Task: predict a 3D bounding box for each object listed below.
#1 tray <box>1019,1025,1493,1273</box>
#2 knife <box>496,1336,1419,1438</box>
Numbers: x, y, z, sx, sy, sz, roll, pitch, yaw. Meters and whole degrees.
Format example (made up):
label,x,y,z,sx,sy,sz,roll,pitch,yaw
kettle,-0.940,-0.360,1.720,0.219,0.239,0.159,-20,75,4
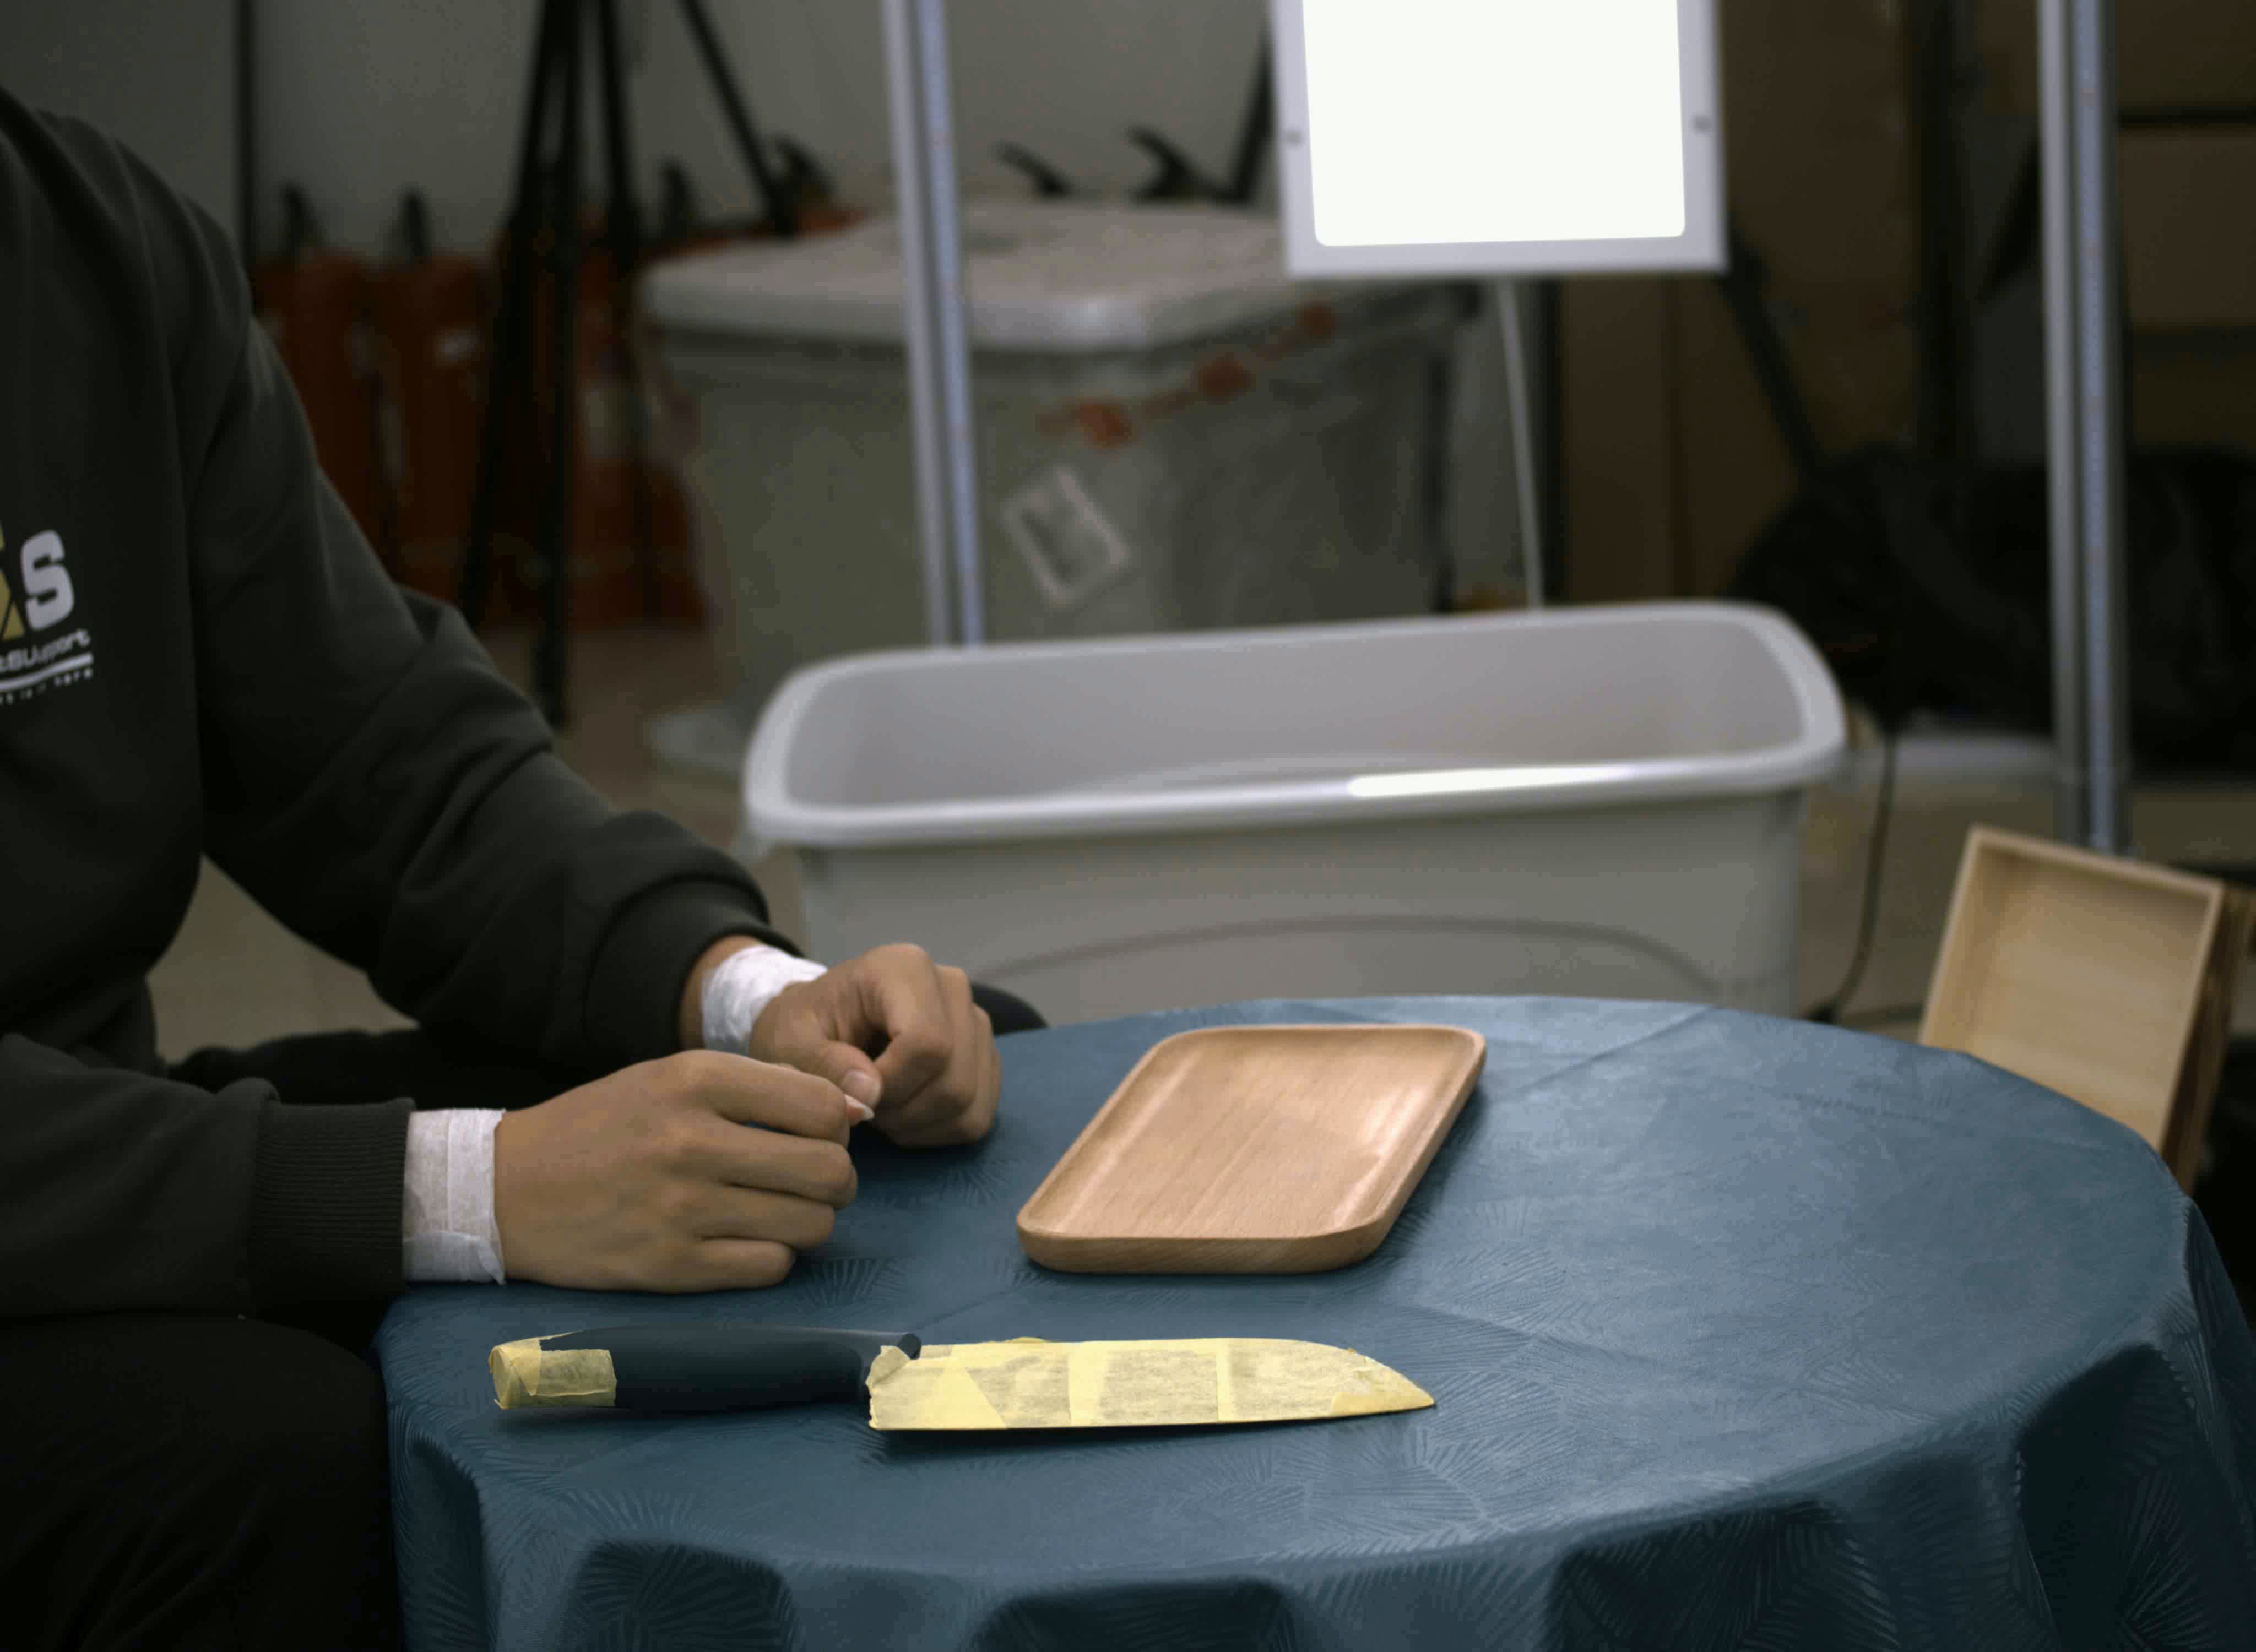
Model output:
label,x,y,z,sx,sy,sz,roll,pitch,yaw
tray,0.049,0.111,1.916,0.132,0.023,0.247,-4,14,16
knife,-0.054,0.174,1.698,0.290,0.027,0.080,-3,12,6
